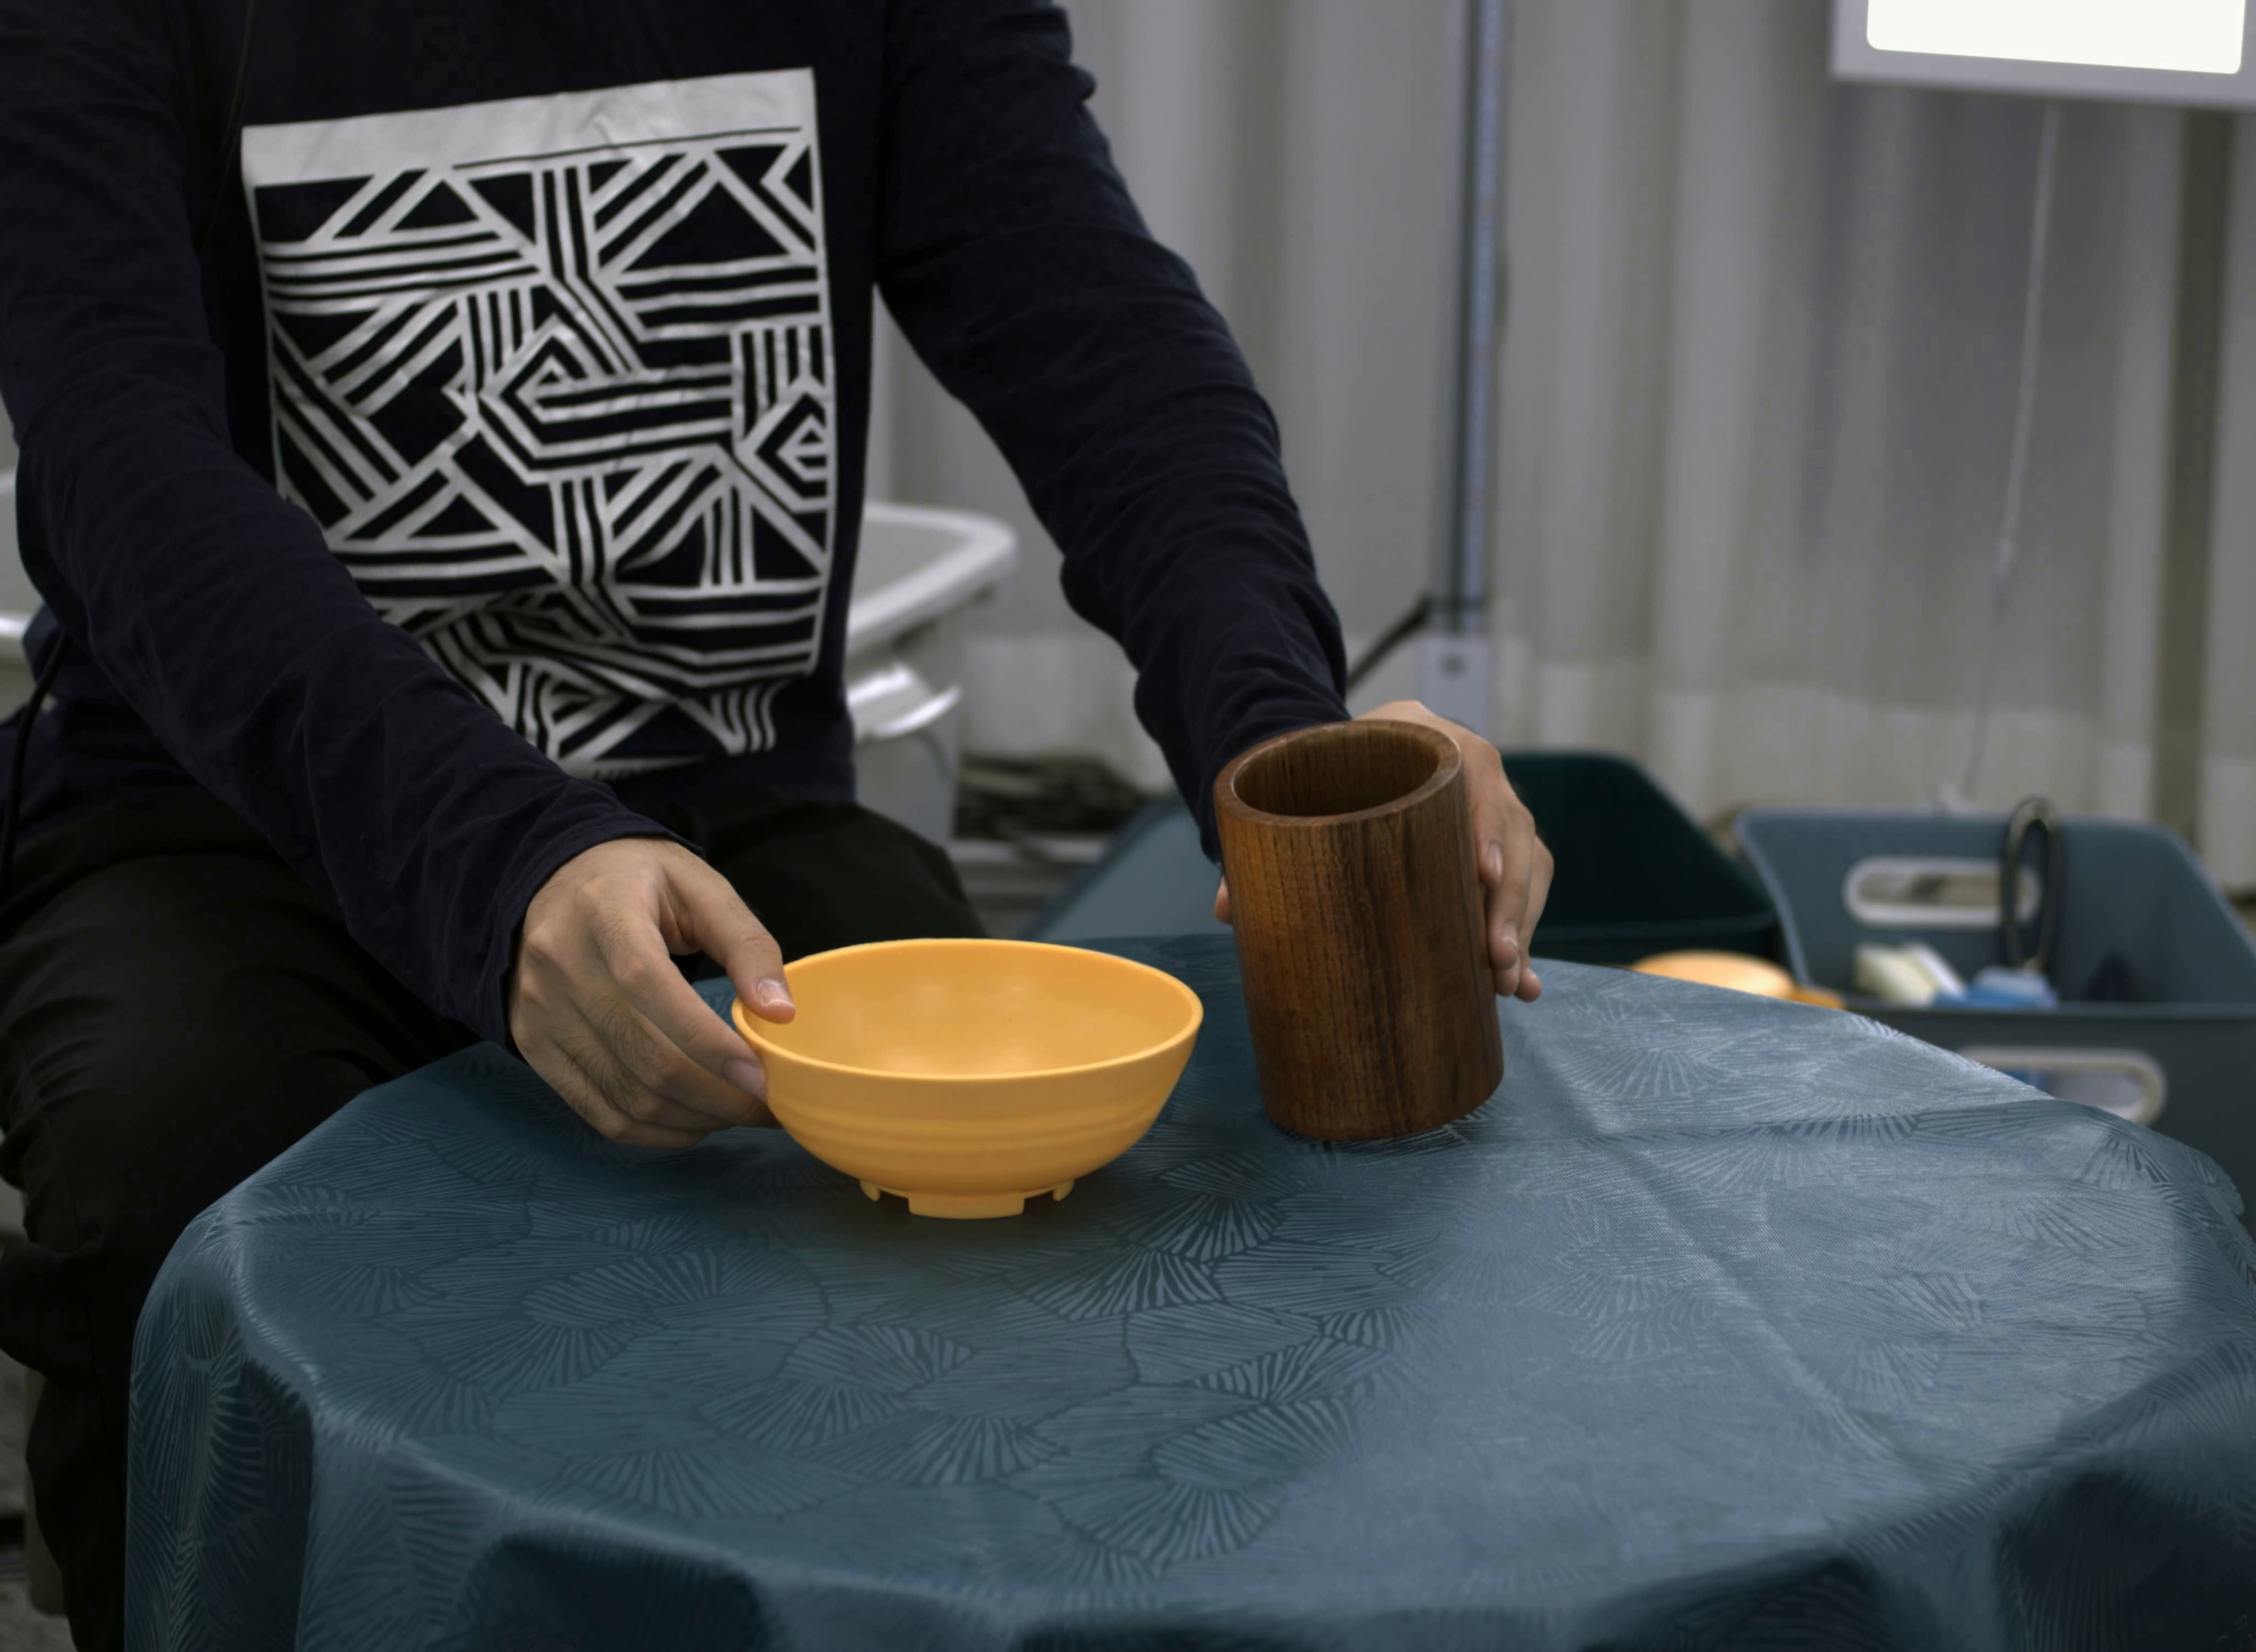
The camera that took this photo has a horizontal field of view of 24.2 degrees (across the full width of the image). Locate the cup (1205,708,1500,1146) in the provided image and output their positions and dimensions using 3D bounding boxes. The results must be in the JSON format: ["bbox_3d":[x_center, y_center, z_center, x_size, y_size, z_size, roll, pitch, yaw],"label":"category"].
[{"bbox_3d":[0.071,0.031,1.666,0.087,0.119,0.087,-6,23,3],"label":"cup"}]

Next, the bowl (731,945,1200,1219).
[{"bbox_3d":[-0.050,0.083,1.620,0.145,0.060,0.144,1,14,0],"label":"bowl"}]
